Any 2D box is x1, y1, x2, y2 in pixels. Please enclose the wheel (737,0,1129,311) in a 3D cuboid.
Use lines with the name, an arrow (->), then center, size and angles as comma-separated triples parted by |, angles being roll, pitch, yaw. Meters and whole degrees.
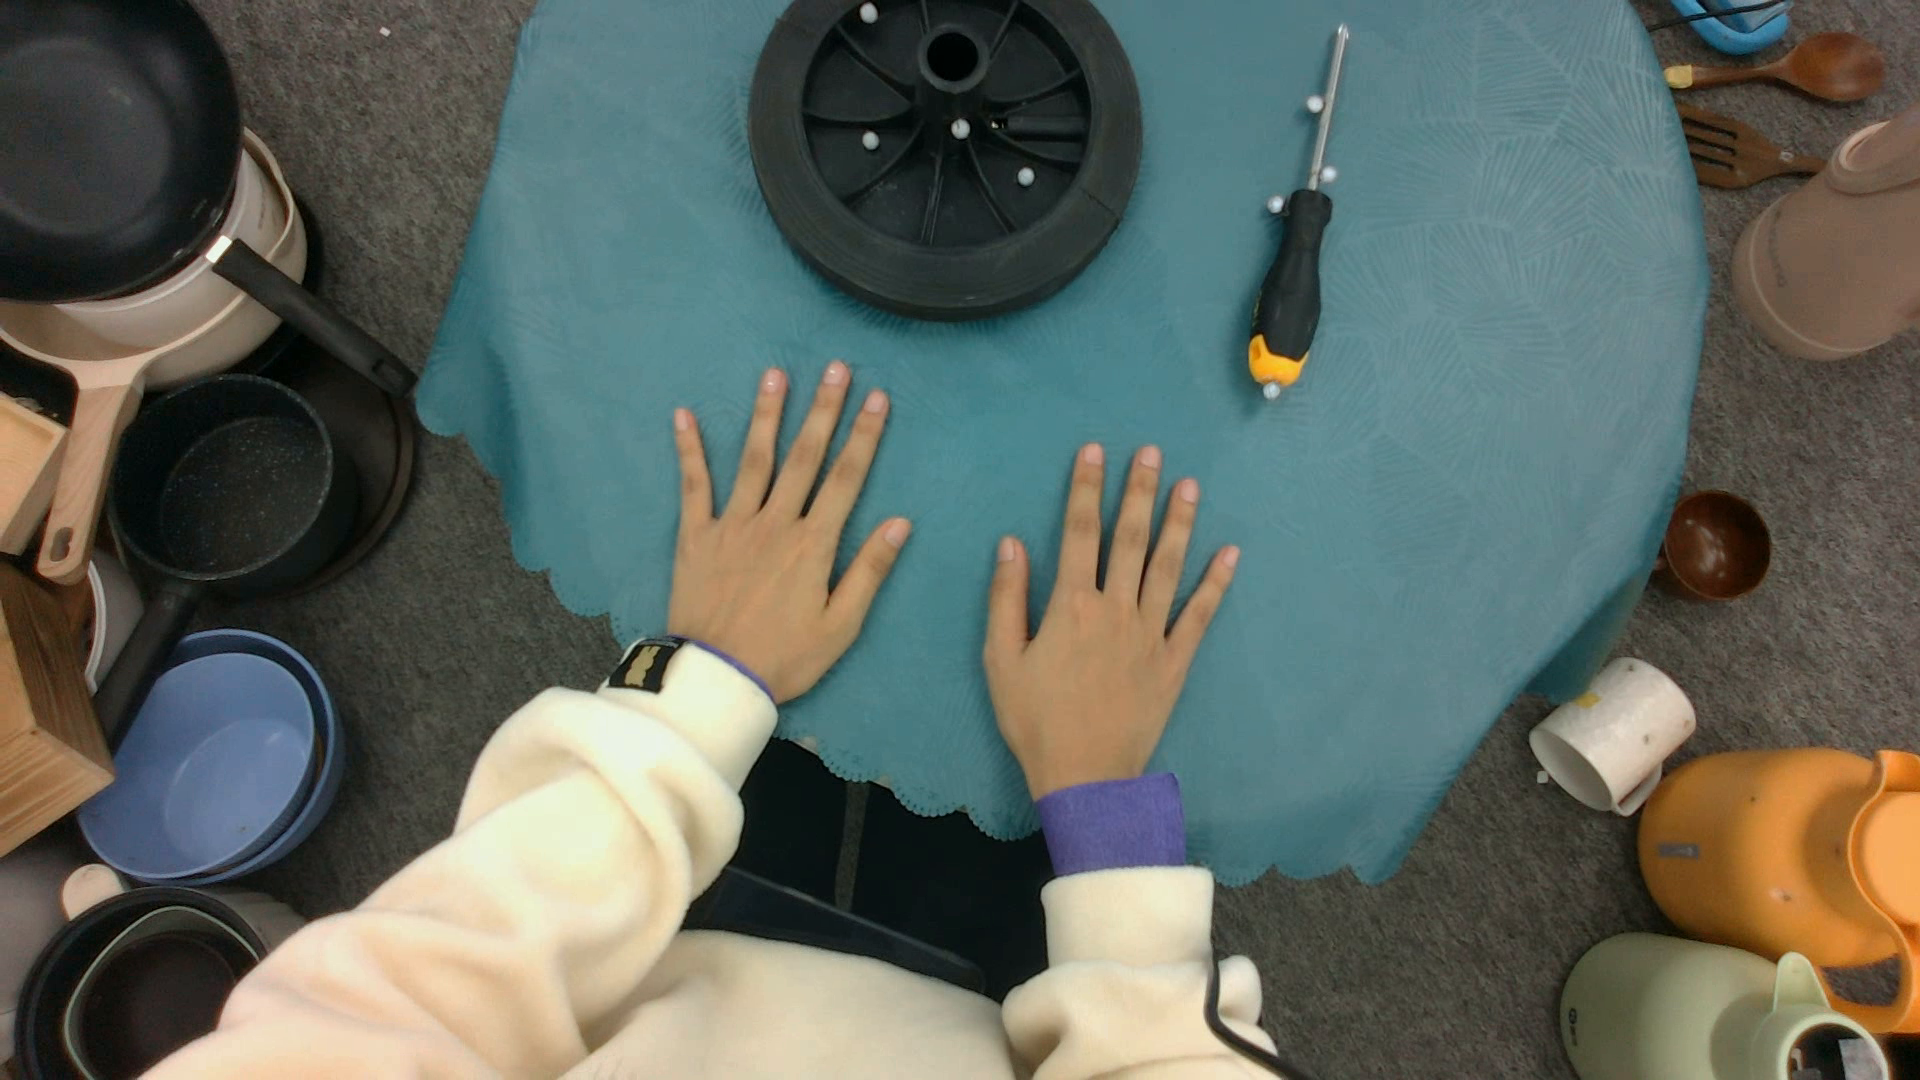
wheel -> -0.010, -0.206, 0.644 | 0.190, 0.079, 0.187 | -23, 81, -10

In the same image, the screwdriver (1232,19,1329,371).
screwdriver -> 0.159, -0.174, 0.674 | 0.031, 0.031, 0.196 | 12, 76, -1
